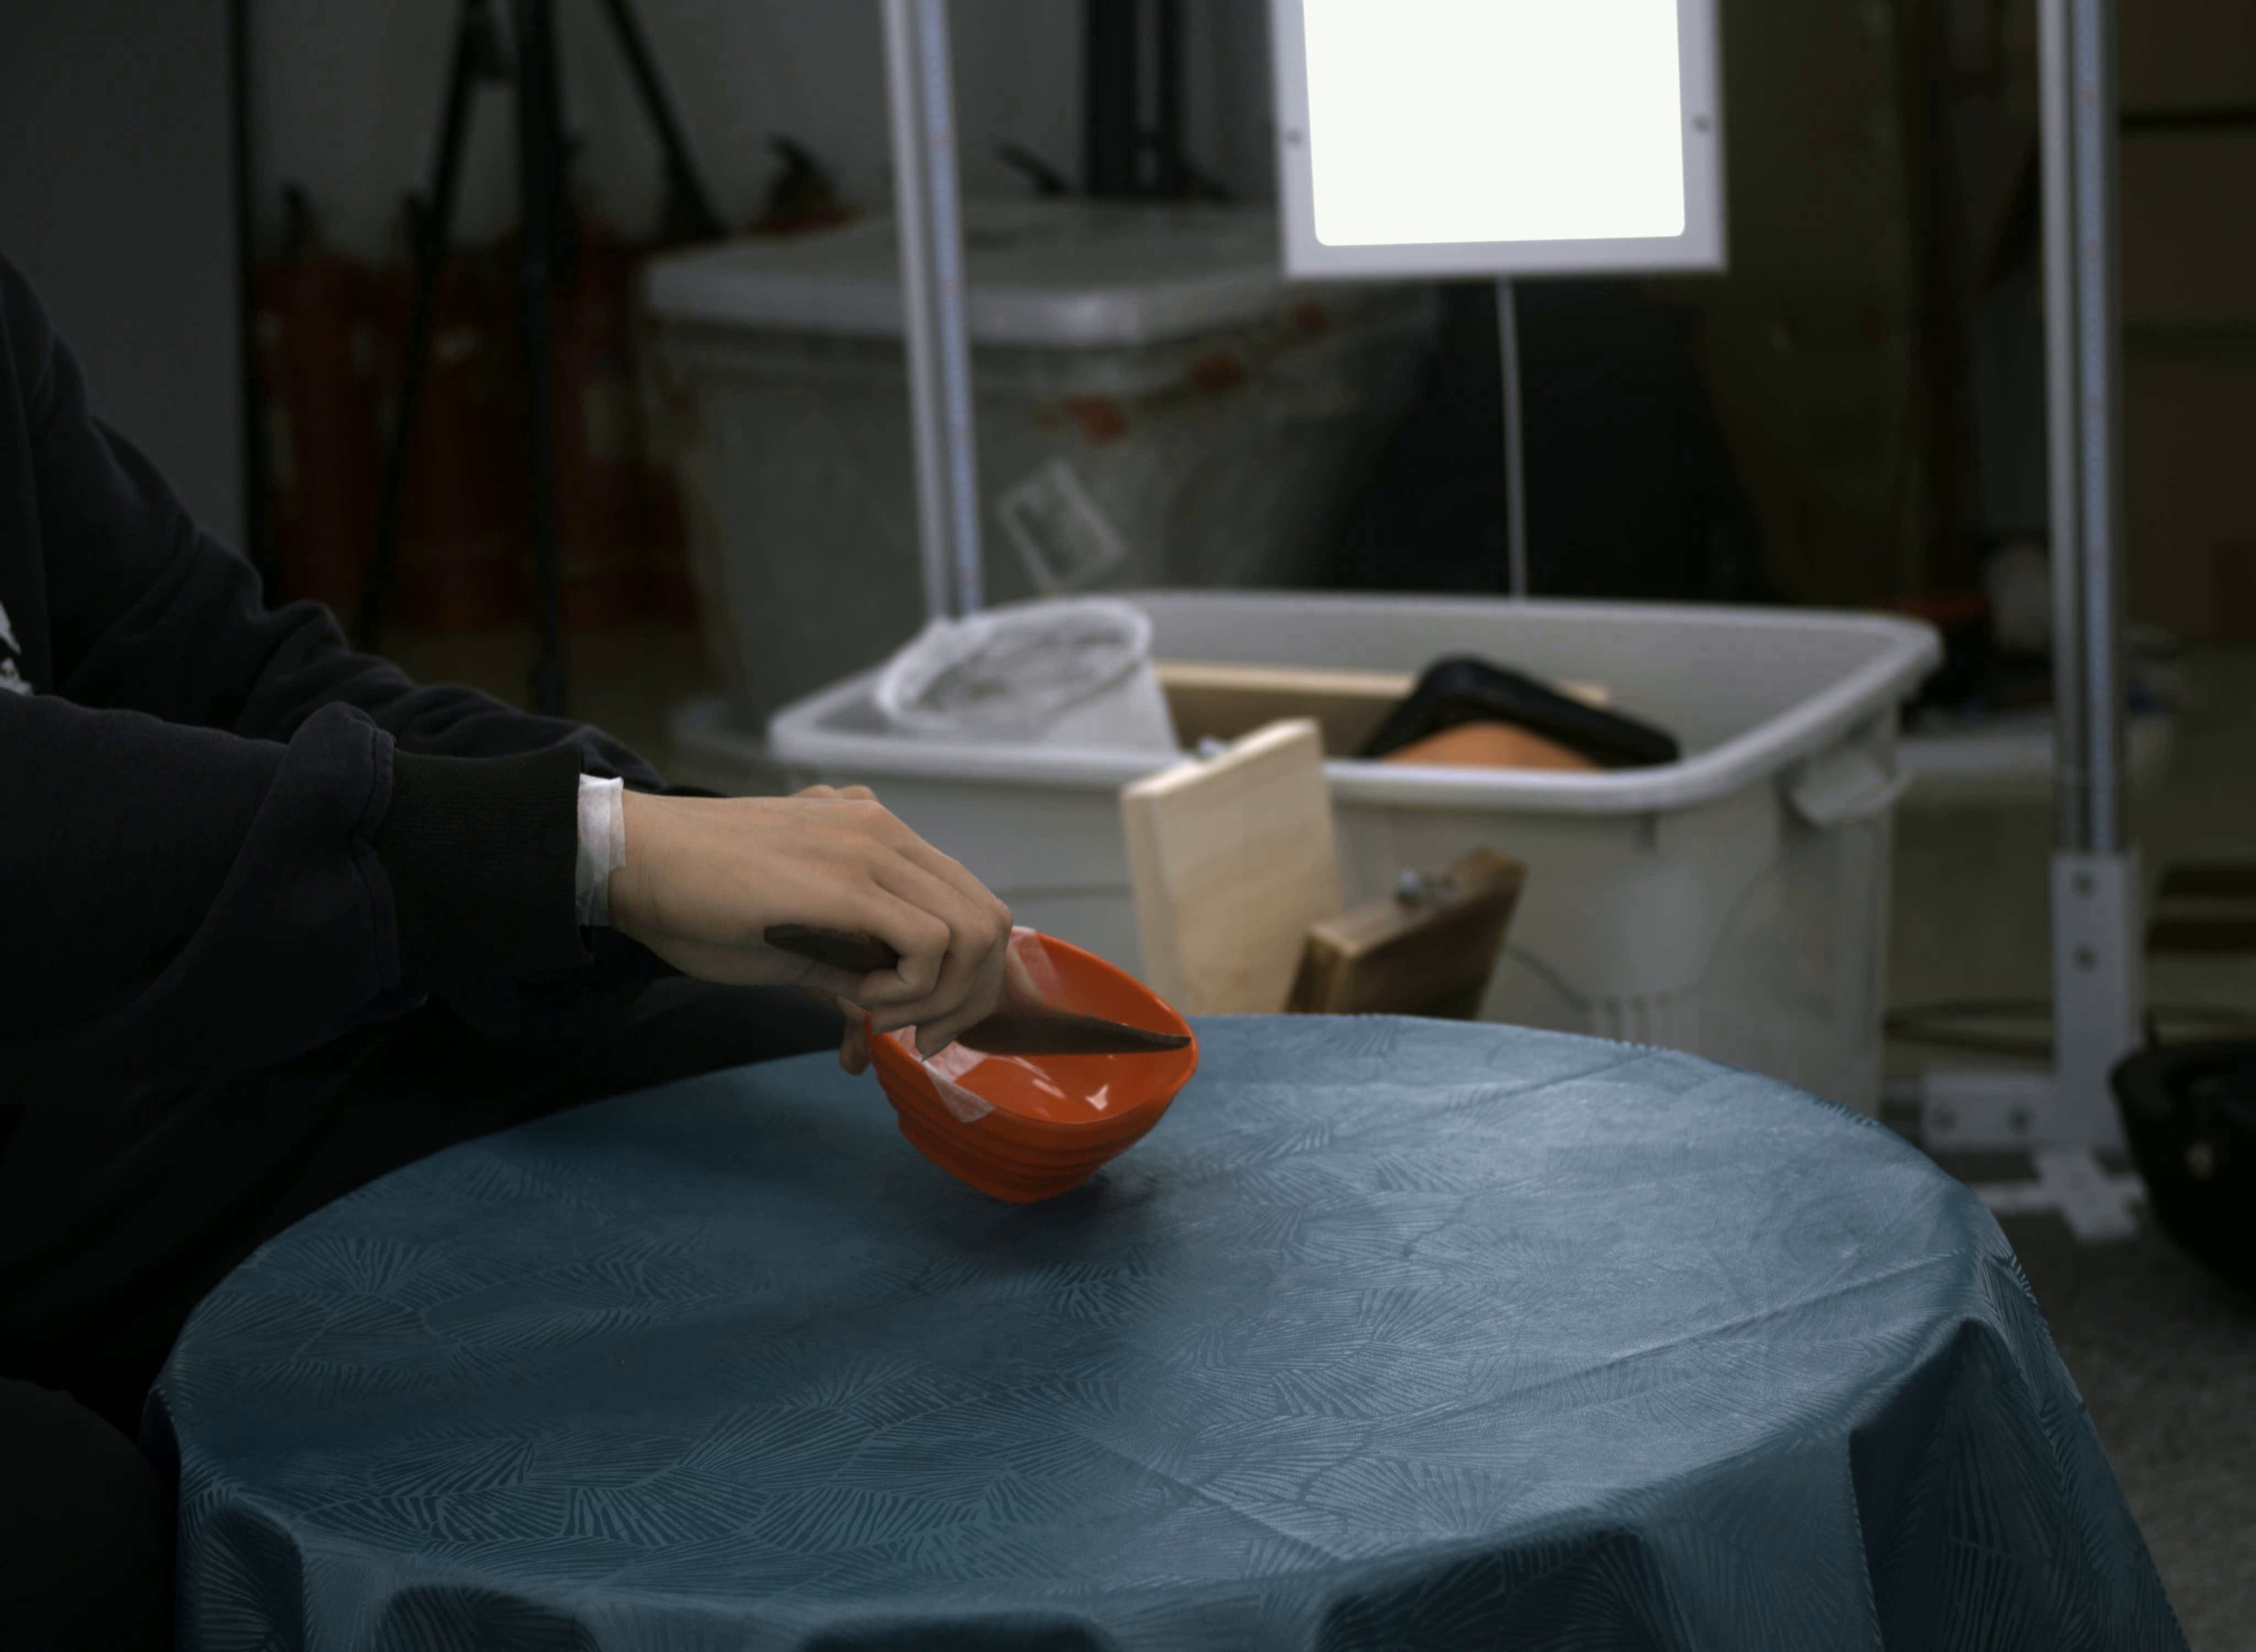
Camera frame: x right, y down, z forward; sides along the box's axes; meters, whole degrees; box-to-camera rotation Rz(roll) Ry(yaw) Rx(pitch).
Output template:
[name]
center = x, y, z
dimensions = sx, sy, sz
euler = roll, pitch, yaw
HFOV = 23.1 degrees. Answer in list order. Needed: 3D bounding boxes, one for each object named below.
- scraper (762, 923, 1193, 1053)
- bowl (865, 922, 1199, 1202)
[scraper]
center = -0.055, 0.055, 1.791
dimensions = 0.077, 0.011, 0.207
euler = -3, -14, 29
[bowl]
center = -0.038, 0.088, 1.911
dimensions = 0.118, 0.052, 0.118
euler = 12, 31, -9
